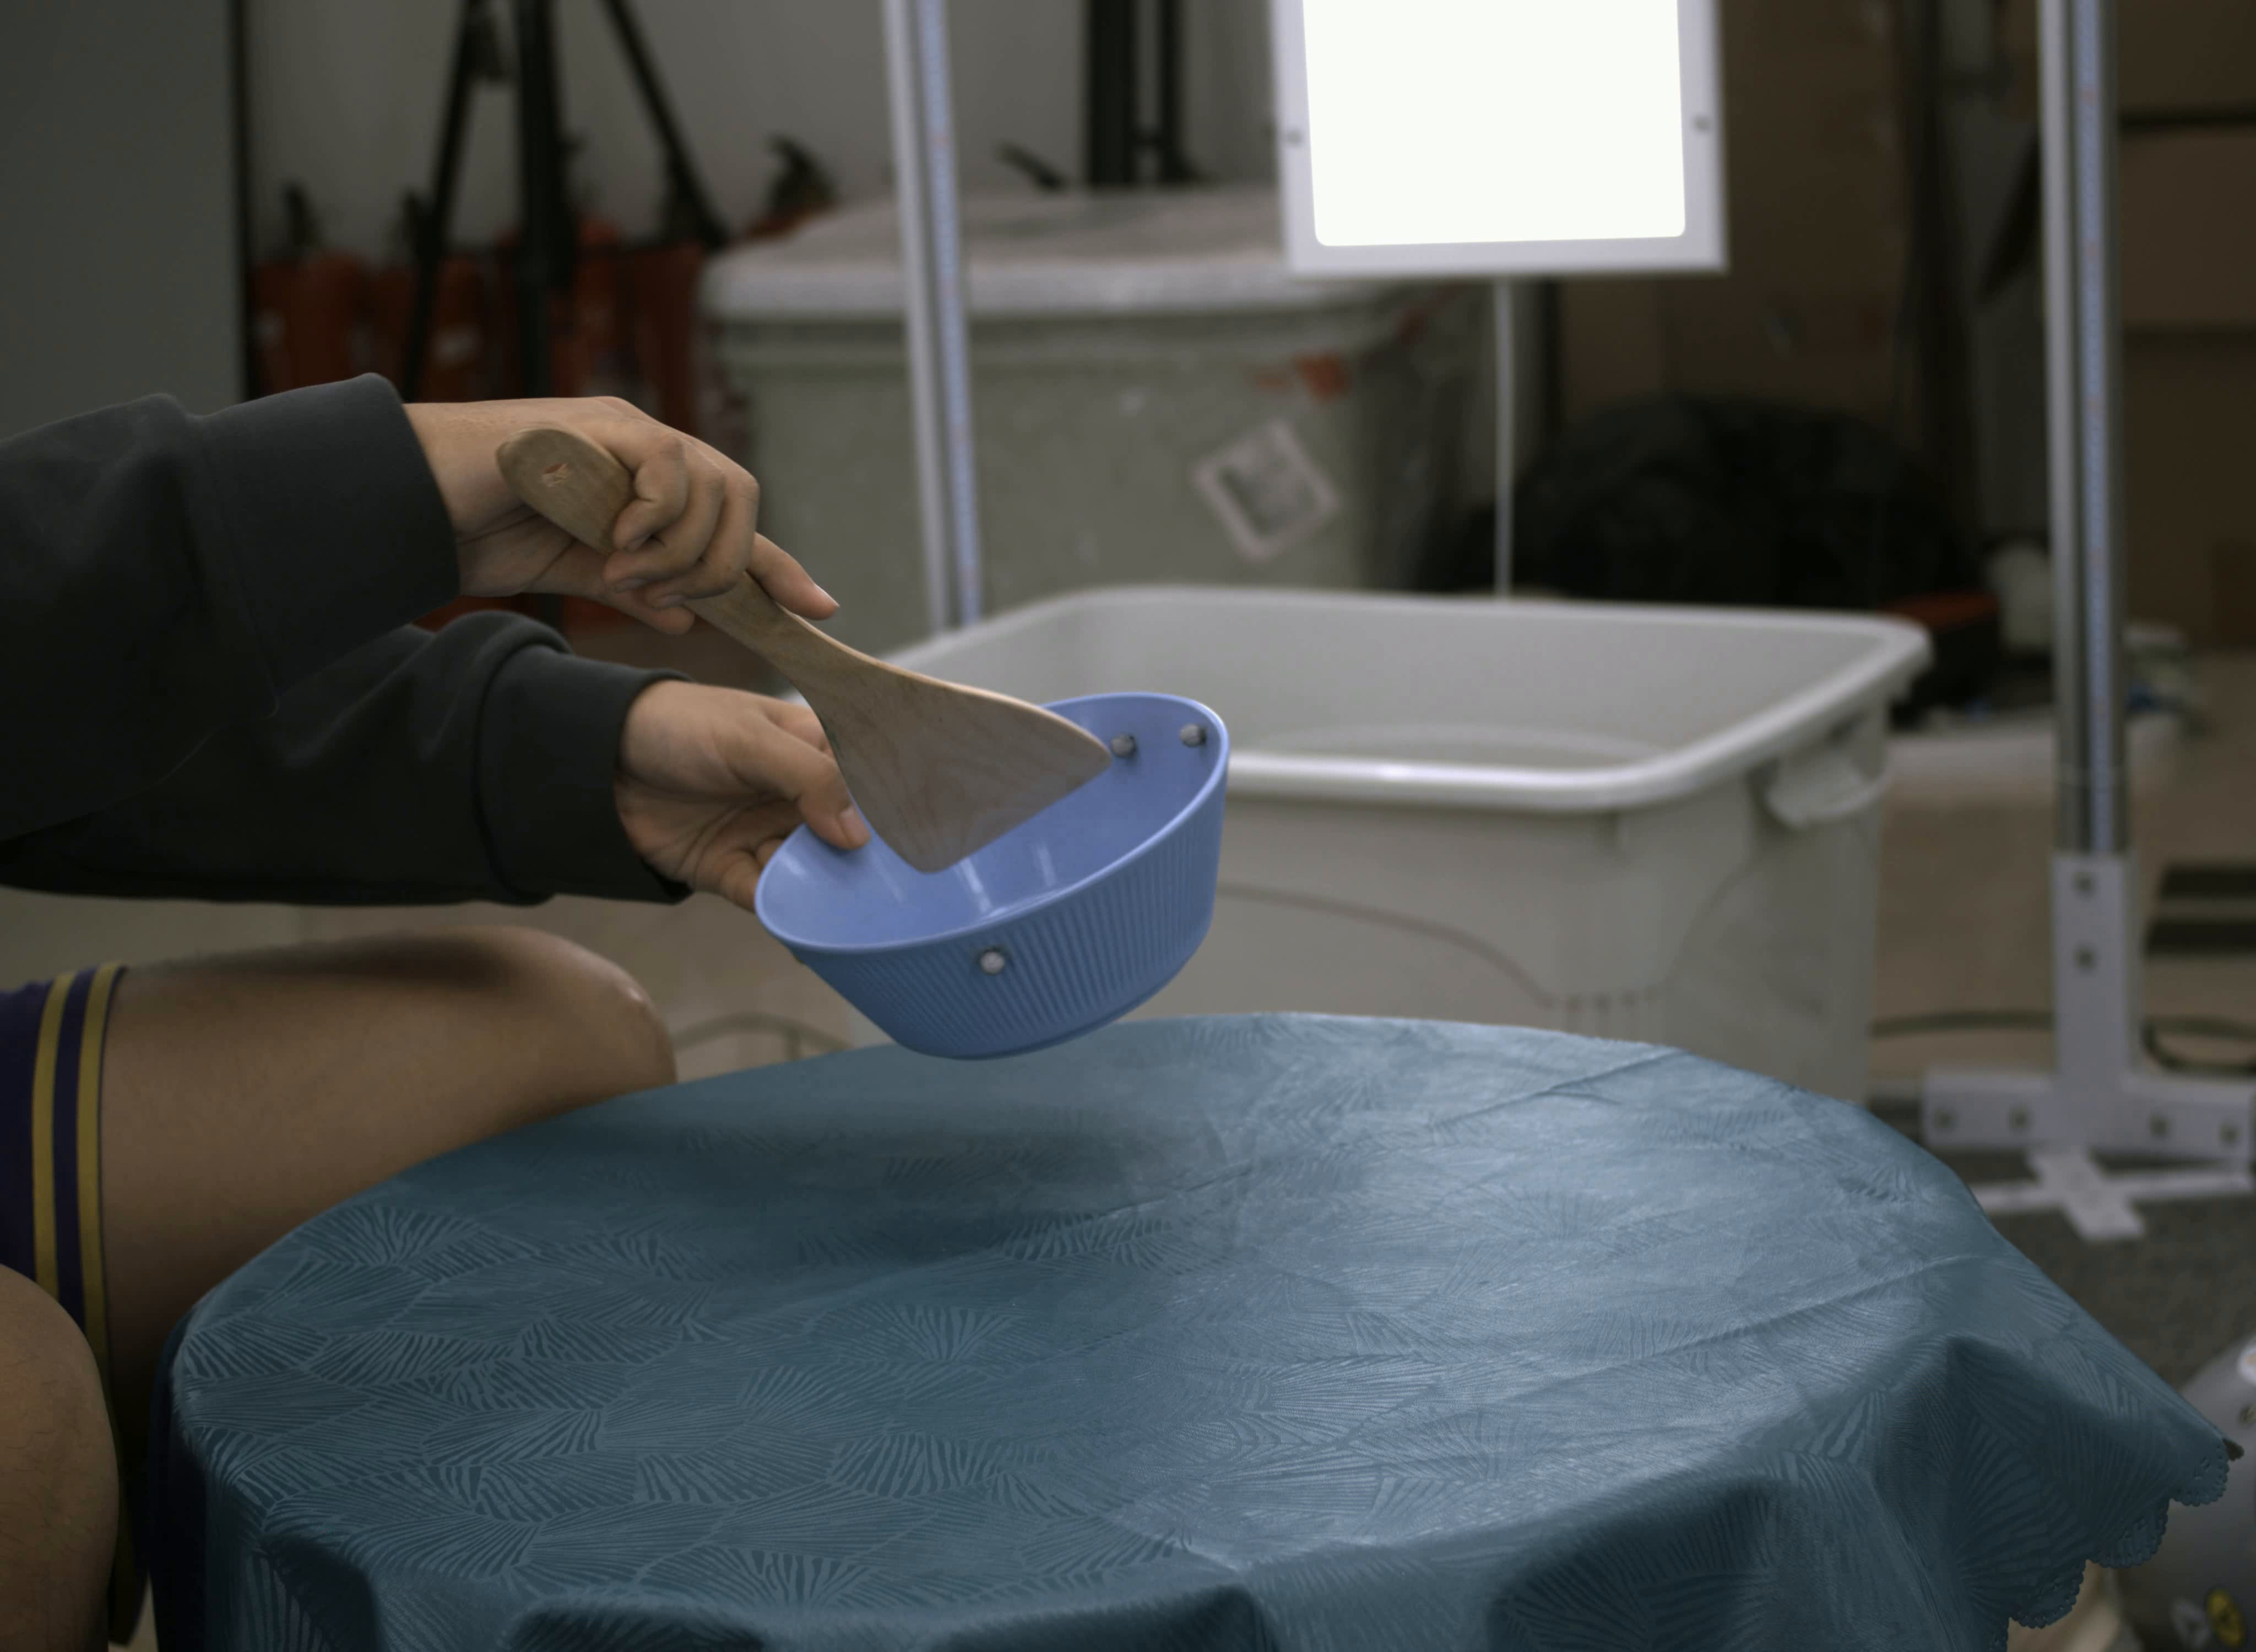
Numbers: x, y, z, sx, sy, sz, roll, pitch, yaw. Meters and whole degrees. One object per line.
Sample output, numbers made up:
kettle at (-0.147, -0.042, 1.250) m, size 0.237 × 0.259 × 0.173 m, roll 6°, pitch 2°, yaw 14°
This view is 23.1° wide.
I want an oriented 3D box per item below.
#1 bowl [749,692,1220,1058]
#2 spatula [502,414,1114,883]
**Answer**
bowl at (-0.040, 0.024, 1.924) m, size 0.177 × 0.070 × 0.175 m, roll -20°, pitch 23°, yaw 7°
spatula at (-0.107, -0.058, 1.789) m, size 0.080 × 0.322 × 0.016 m, roll -36°, pitch 53°, yaw 12°
